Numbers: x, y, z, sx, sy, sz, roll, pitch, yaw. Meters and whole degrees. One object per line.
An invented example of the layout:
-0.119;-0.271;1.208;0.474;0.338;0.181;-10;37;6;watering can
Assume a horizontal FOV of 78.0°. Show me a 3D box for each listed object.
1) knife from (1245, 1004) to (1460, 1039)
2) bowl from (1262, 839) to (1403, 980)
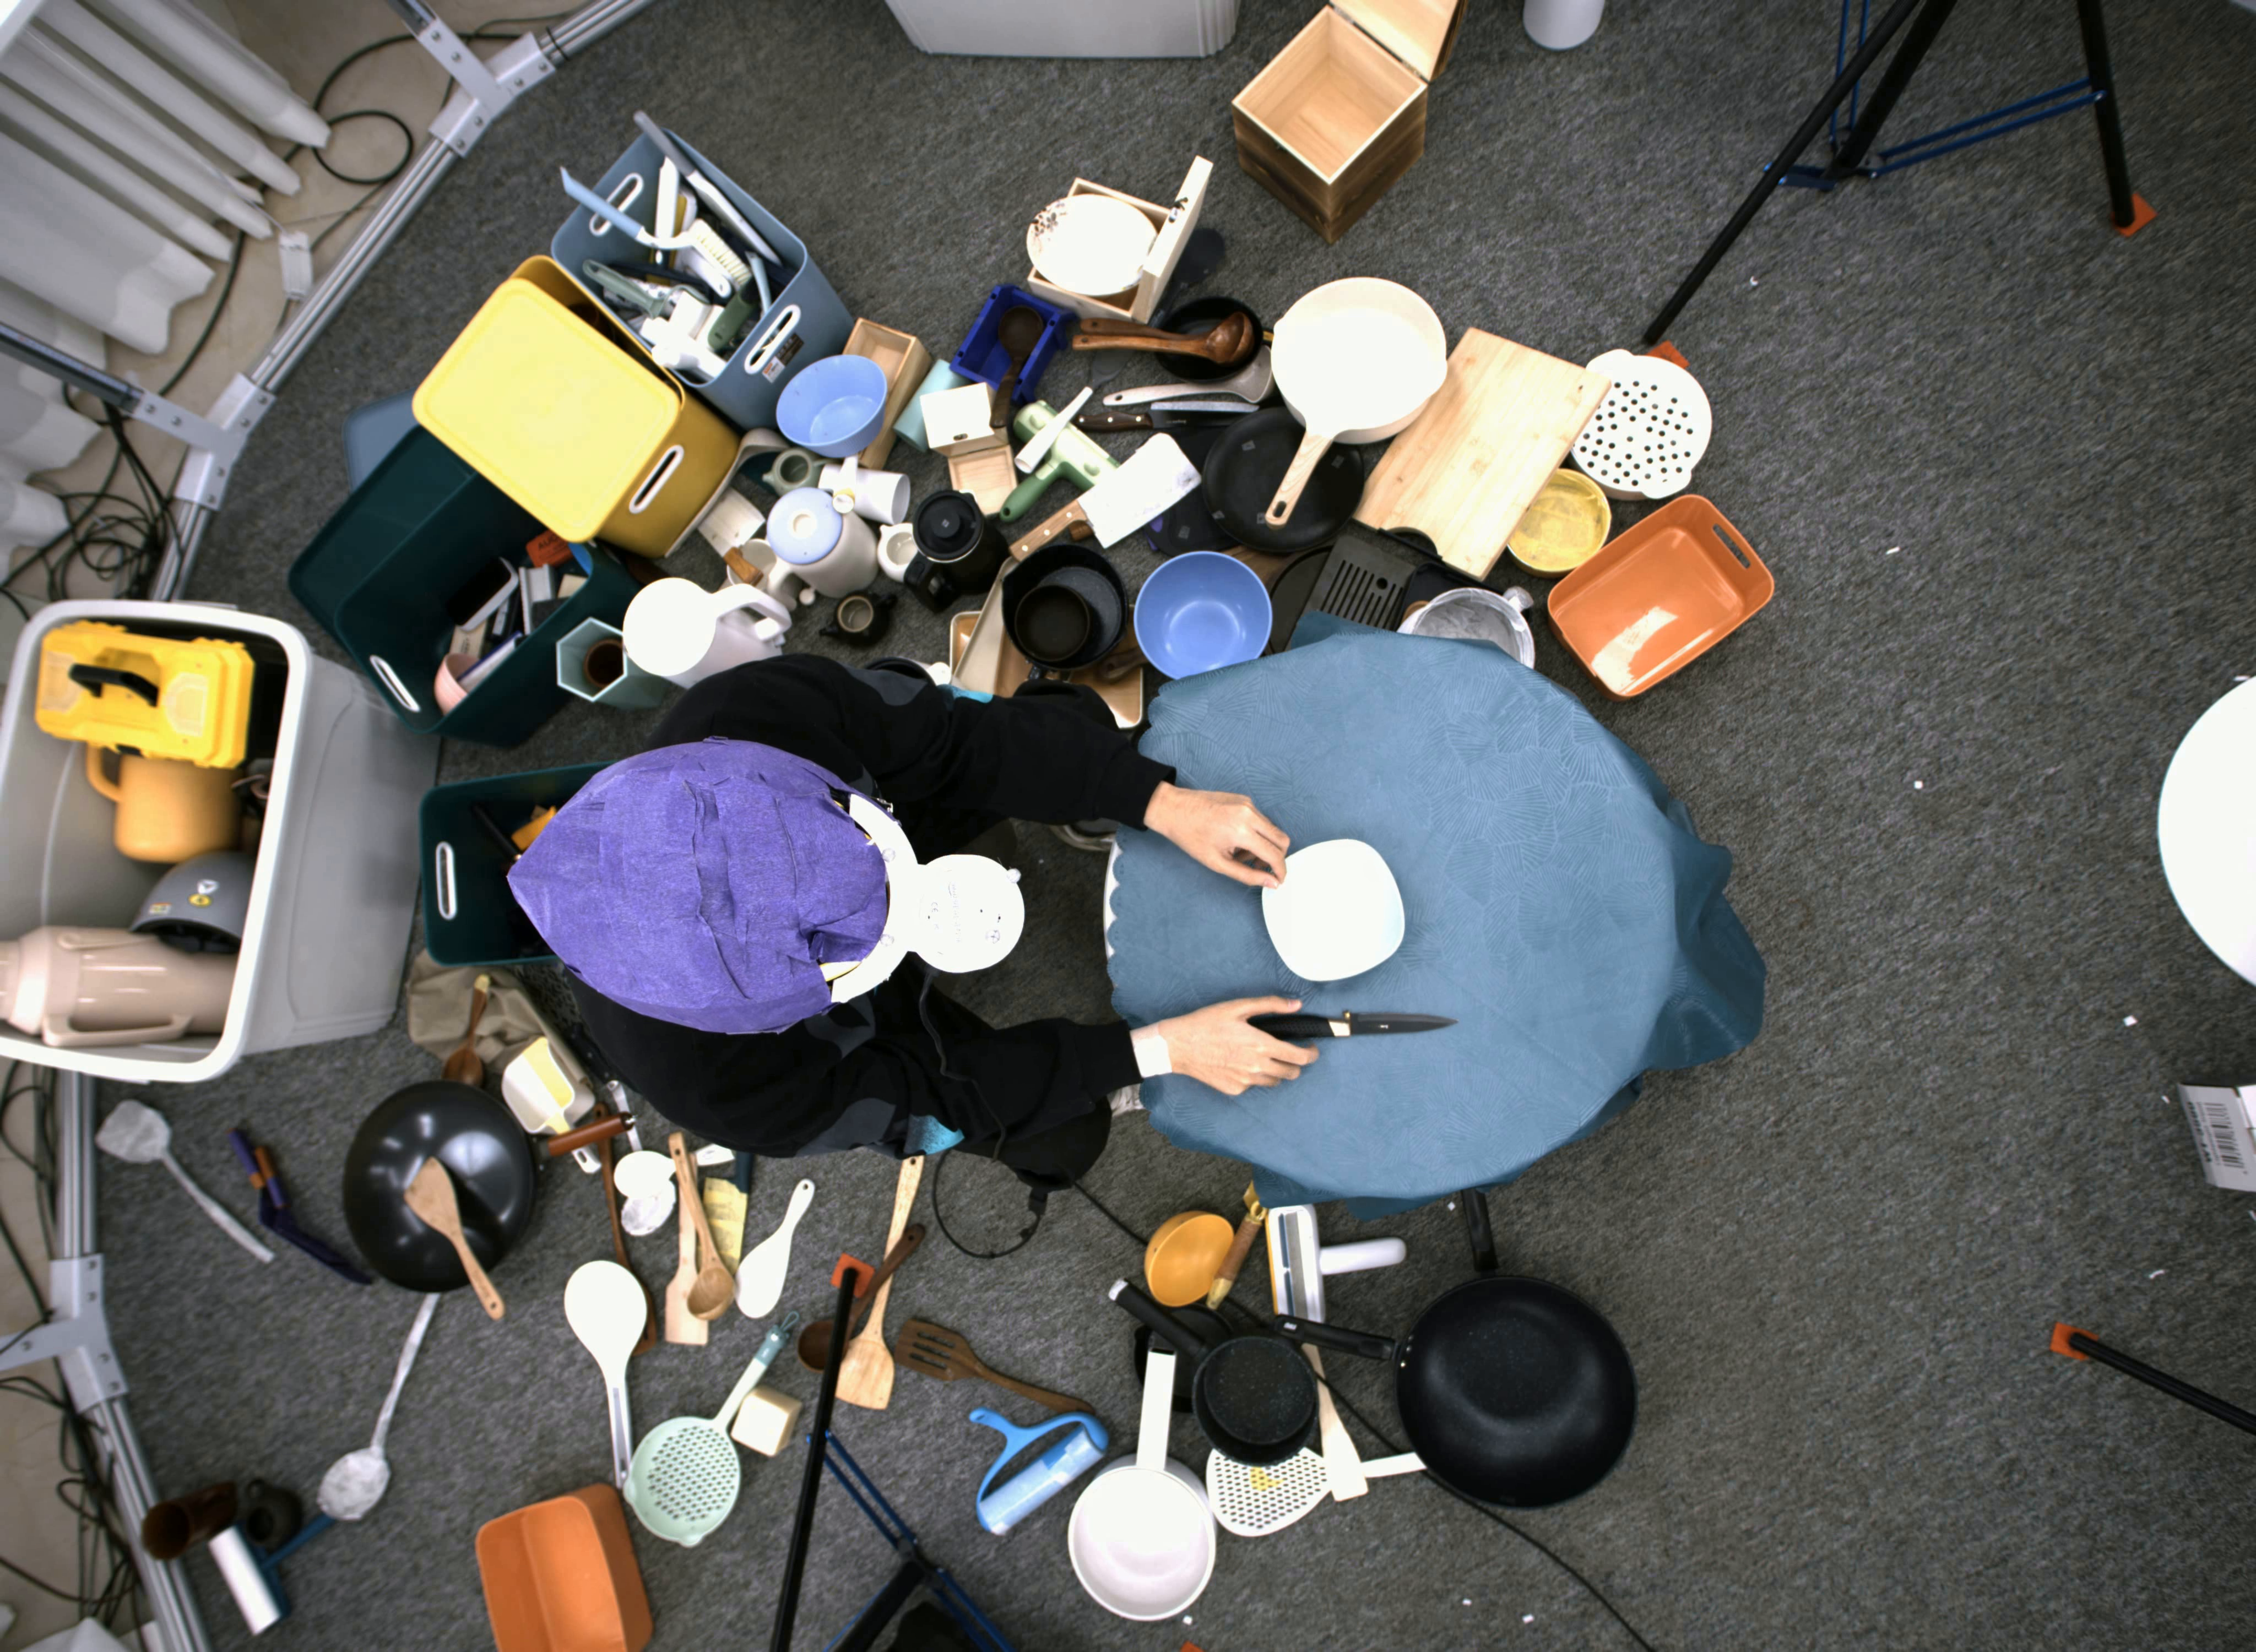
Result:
0.235;0.204;1.453;0.226;0.017;0.026;-5;79;9;knife
0.213;0.086;1.442;0.152;0.058;0.151;-1;88;10;bowl
